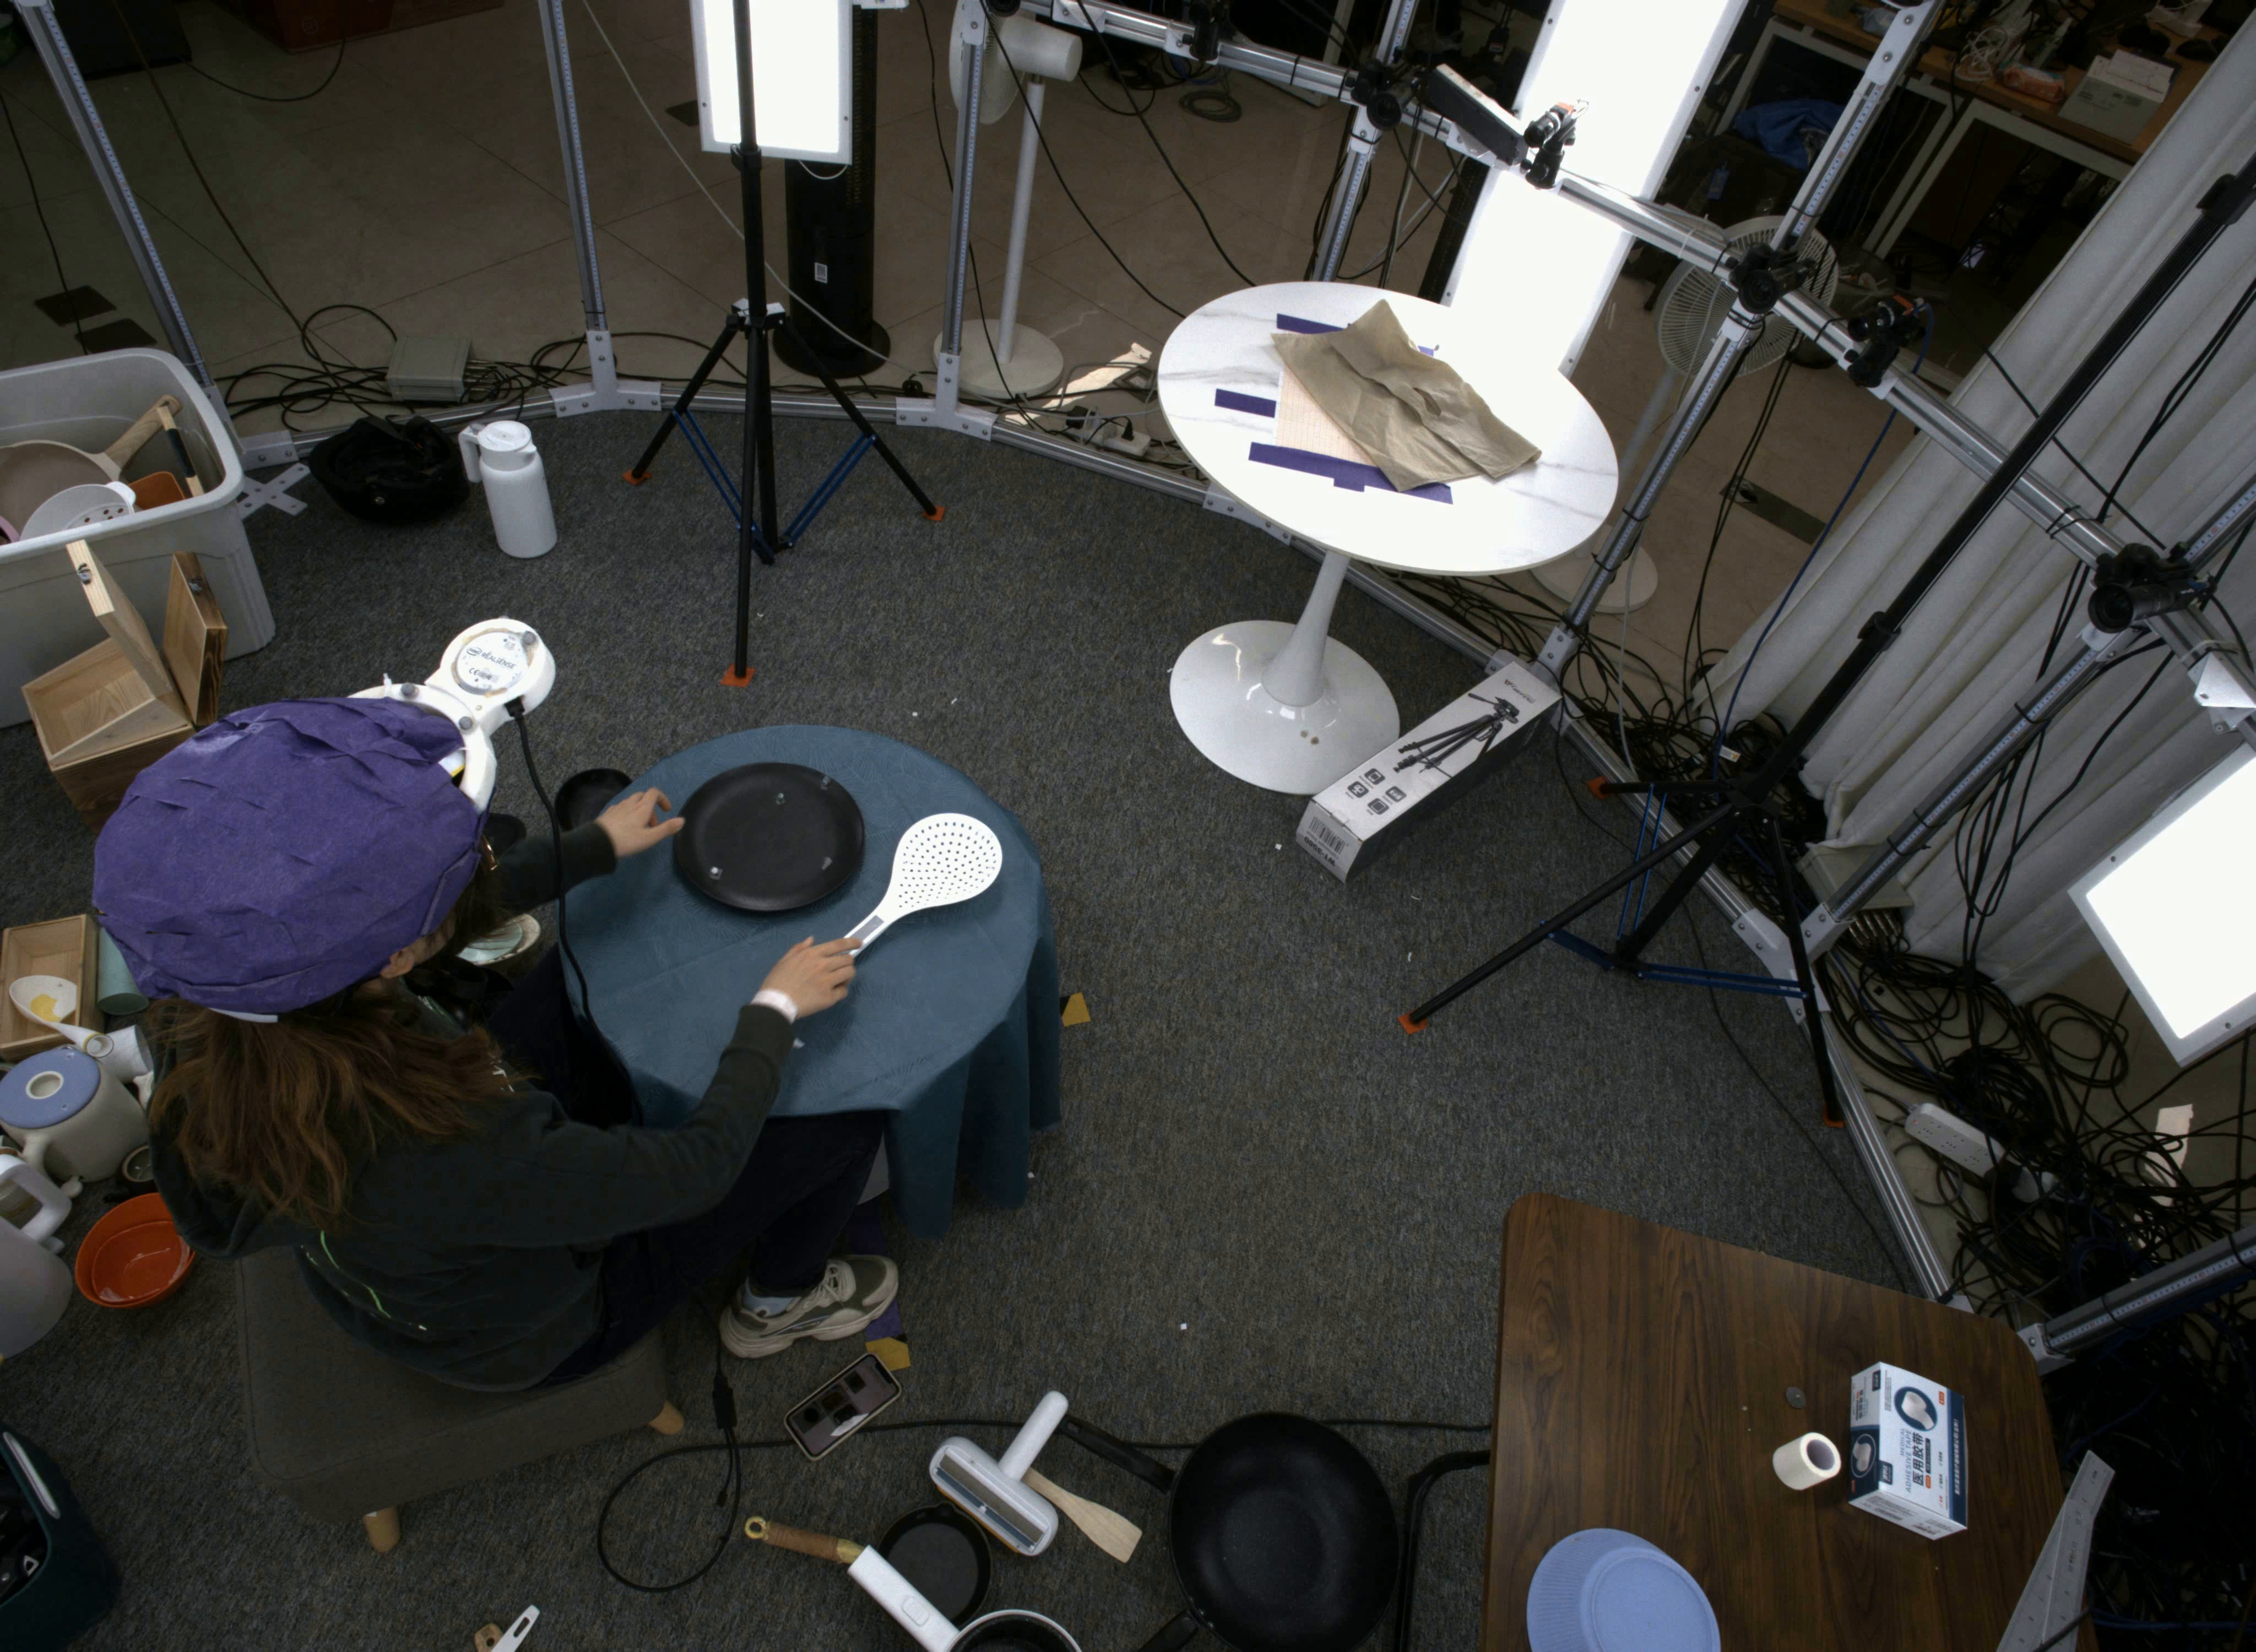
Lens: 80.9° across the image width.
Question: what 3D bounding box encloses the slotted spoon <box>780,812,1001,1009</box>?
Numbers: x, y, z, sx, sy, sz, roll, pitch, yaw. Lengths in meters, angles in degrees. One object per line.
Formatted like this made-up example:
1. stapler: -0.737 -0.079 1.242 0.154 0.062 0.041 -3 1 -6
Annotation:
1. slotted spoon: -0.302 0.107 1.652 0.133 0.047 0.350 37 55 17

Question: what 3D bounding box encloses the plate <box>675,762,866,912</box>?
1. plate: -0.466 0.015 1.692 0.244 0.024 0.240 8 53 -9
